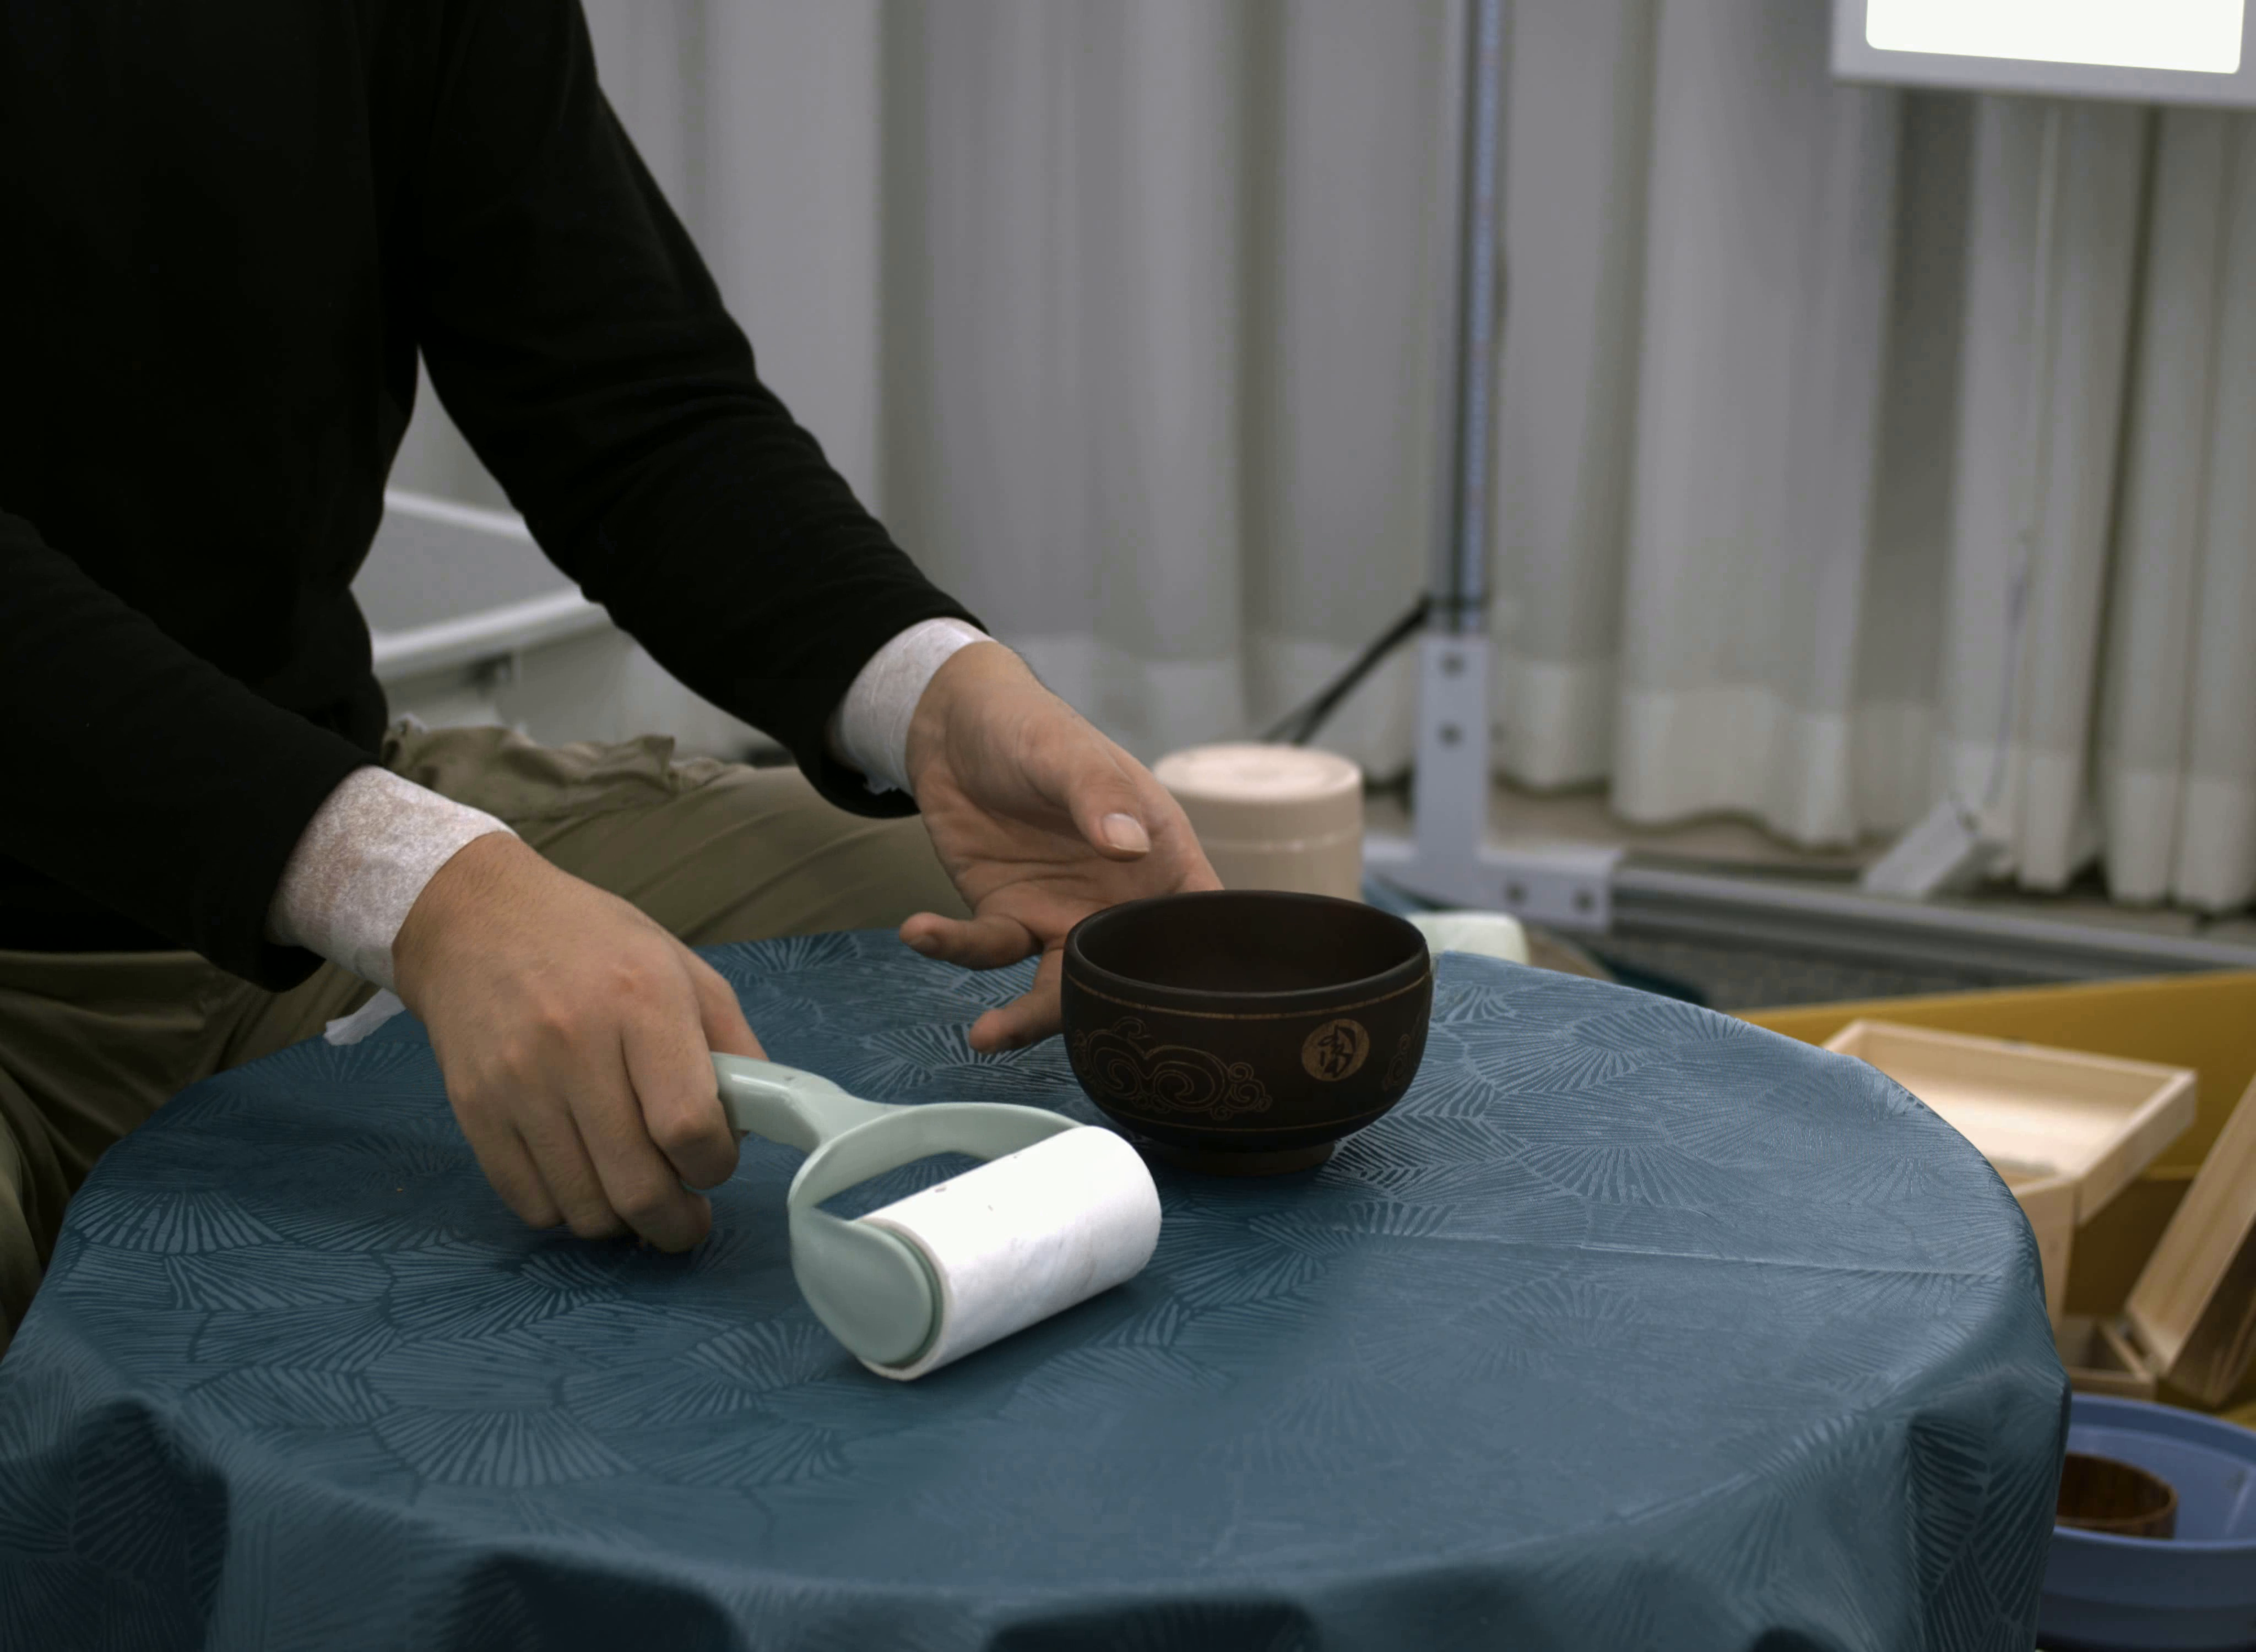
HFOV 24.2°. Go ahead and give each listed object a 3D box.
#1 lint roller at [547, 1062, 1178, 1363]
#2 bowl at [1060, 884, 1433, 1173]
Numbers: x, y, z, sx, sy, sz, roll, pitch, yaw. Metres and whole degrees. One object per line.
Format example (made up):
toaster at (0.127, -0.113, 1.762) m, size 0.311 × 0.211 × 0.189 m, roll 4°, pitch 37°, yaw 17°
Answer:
lint roller at (-0.091, 0.097, 1.543) m, size 0.195 × 0.049 × 0.117 m, roll 20°, pitch 24°, yaw 32°
bowl at (0.037, 0.067, 1.651) m, size 0.117 × 0.070 × 0.117 m, roll -1°, pitch 16°, yaw 1°
